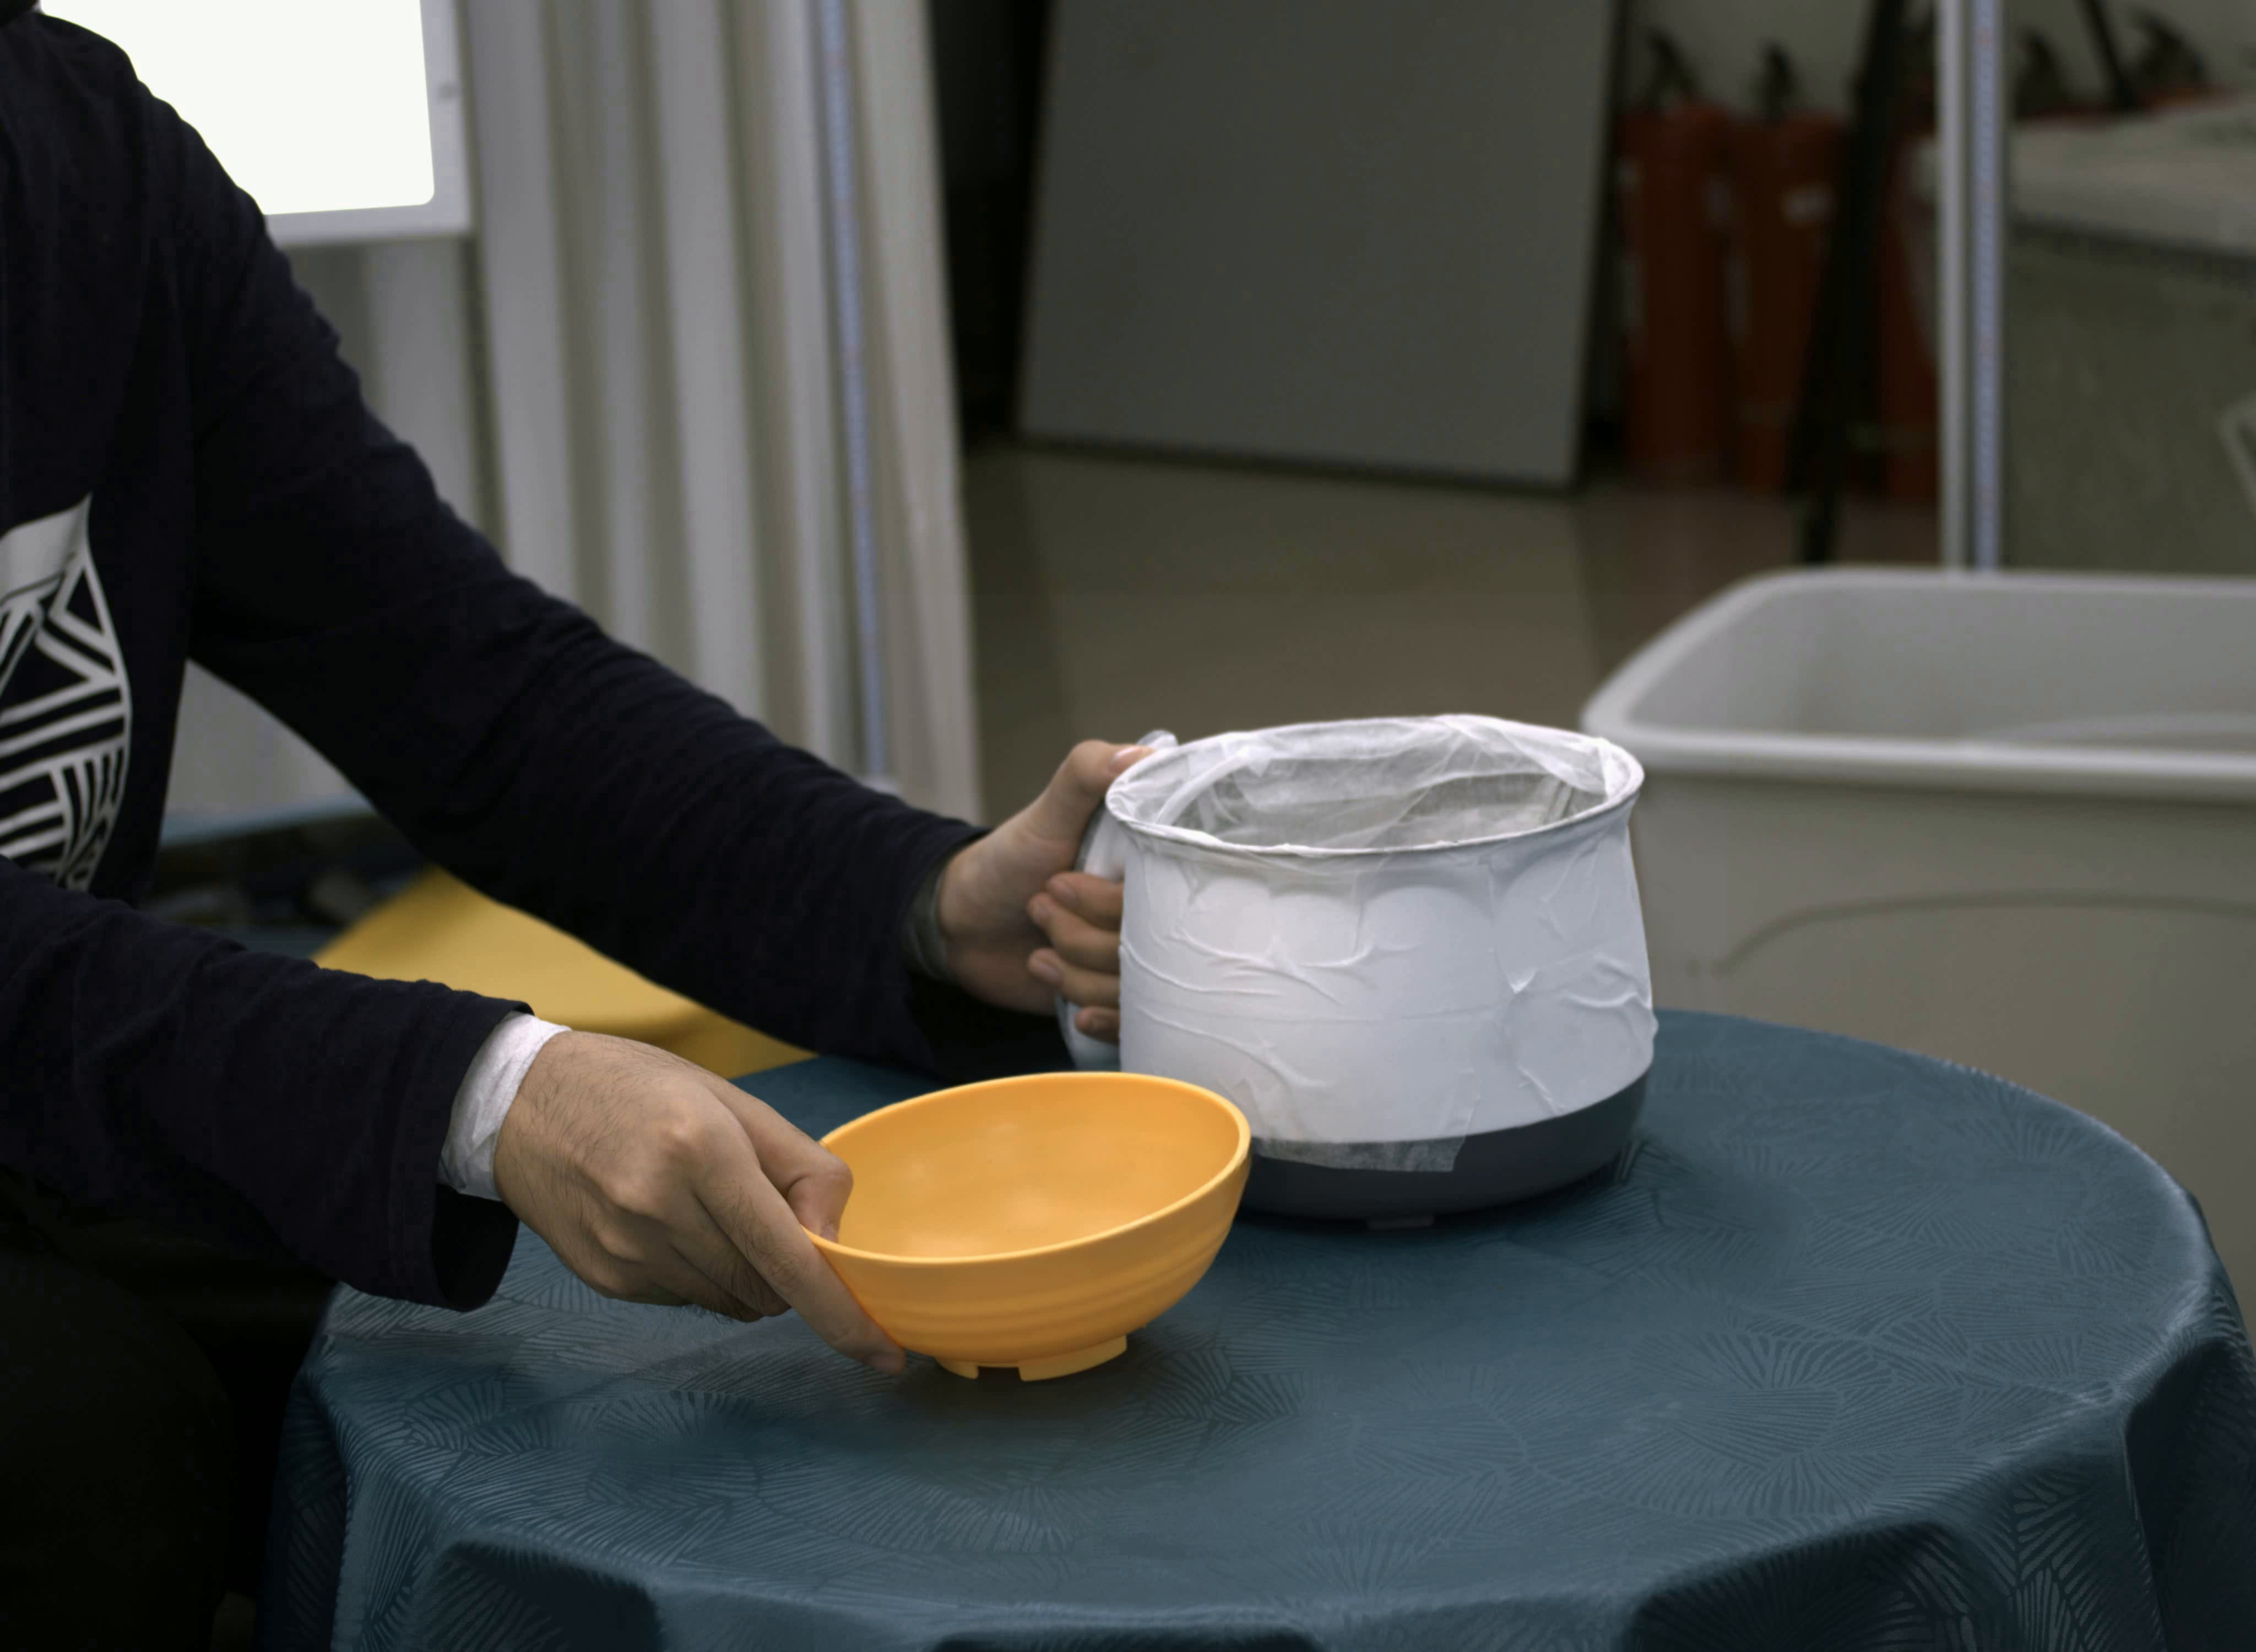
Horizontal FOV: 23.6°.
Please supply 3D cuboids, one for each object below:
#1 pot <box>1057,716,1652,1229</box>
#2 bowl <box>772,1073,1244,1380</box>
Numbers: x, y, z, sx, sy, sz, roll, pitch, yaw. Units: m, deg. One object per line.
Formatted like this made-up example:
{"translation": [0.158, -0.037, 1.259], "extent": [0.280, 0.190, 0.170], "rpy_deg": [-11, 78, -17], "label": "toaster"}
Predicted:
{"translation": [0.064, 0.042, 1.787], "extent": [0.236, 0.138, 0.175], "rpy_deg": [11, 17, 44], "label": "pot"}
{"translation": [-0.033, 0.126, 1.619], "extent": [0.143, 0.060, 0.145], "rpy_deg": [-7, 17, 1], "label": "bowl"}
